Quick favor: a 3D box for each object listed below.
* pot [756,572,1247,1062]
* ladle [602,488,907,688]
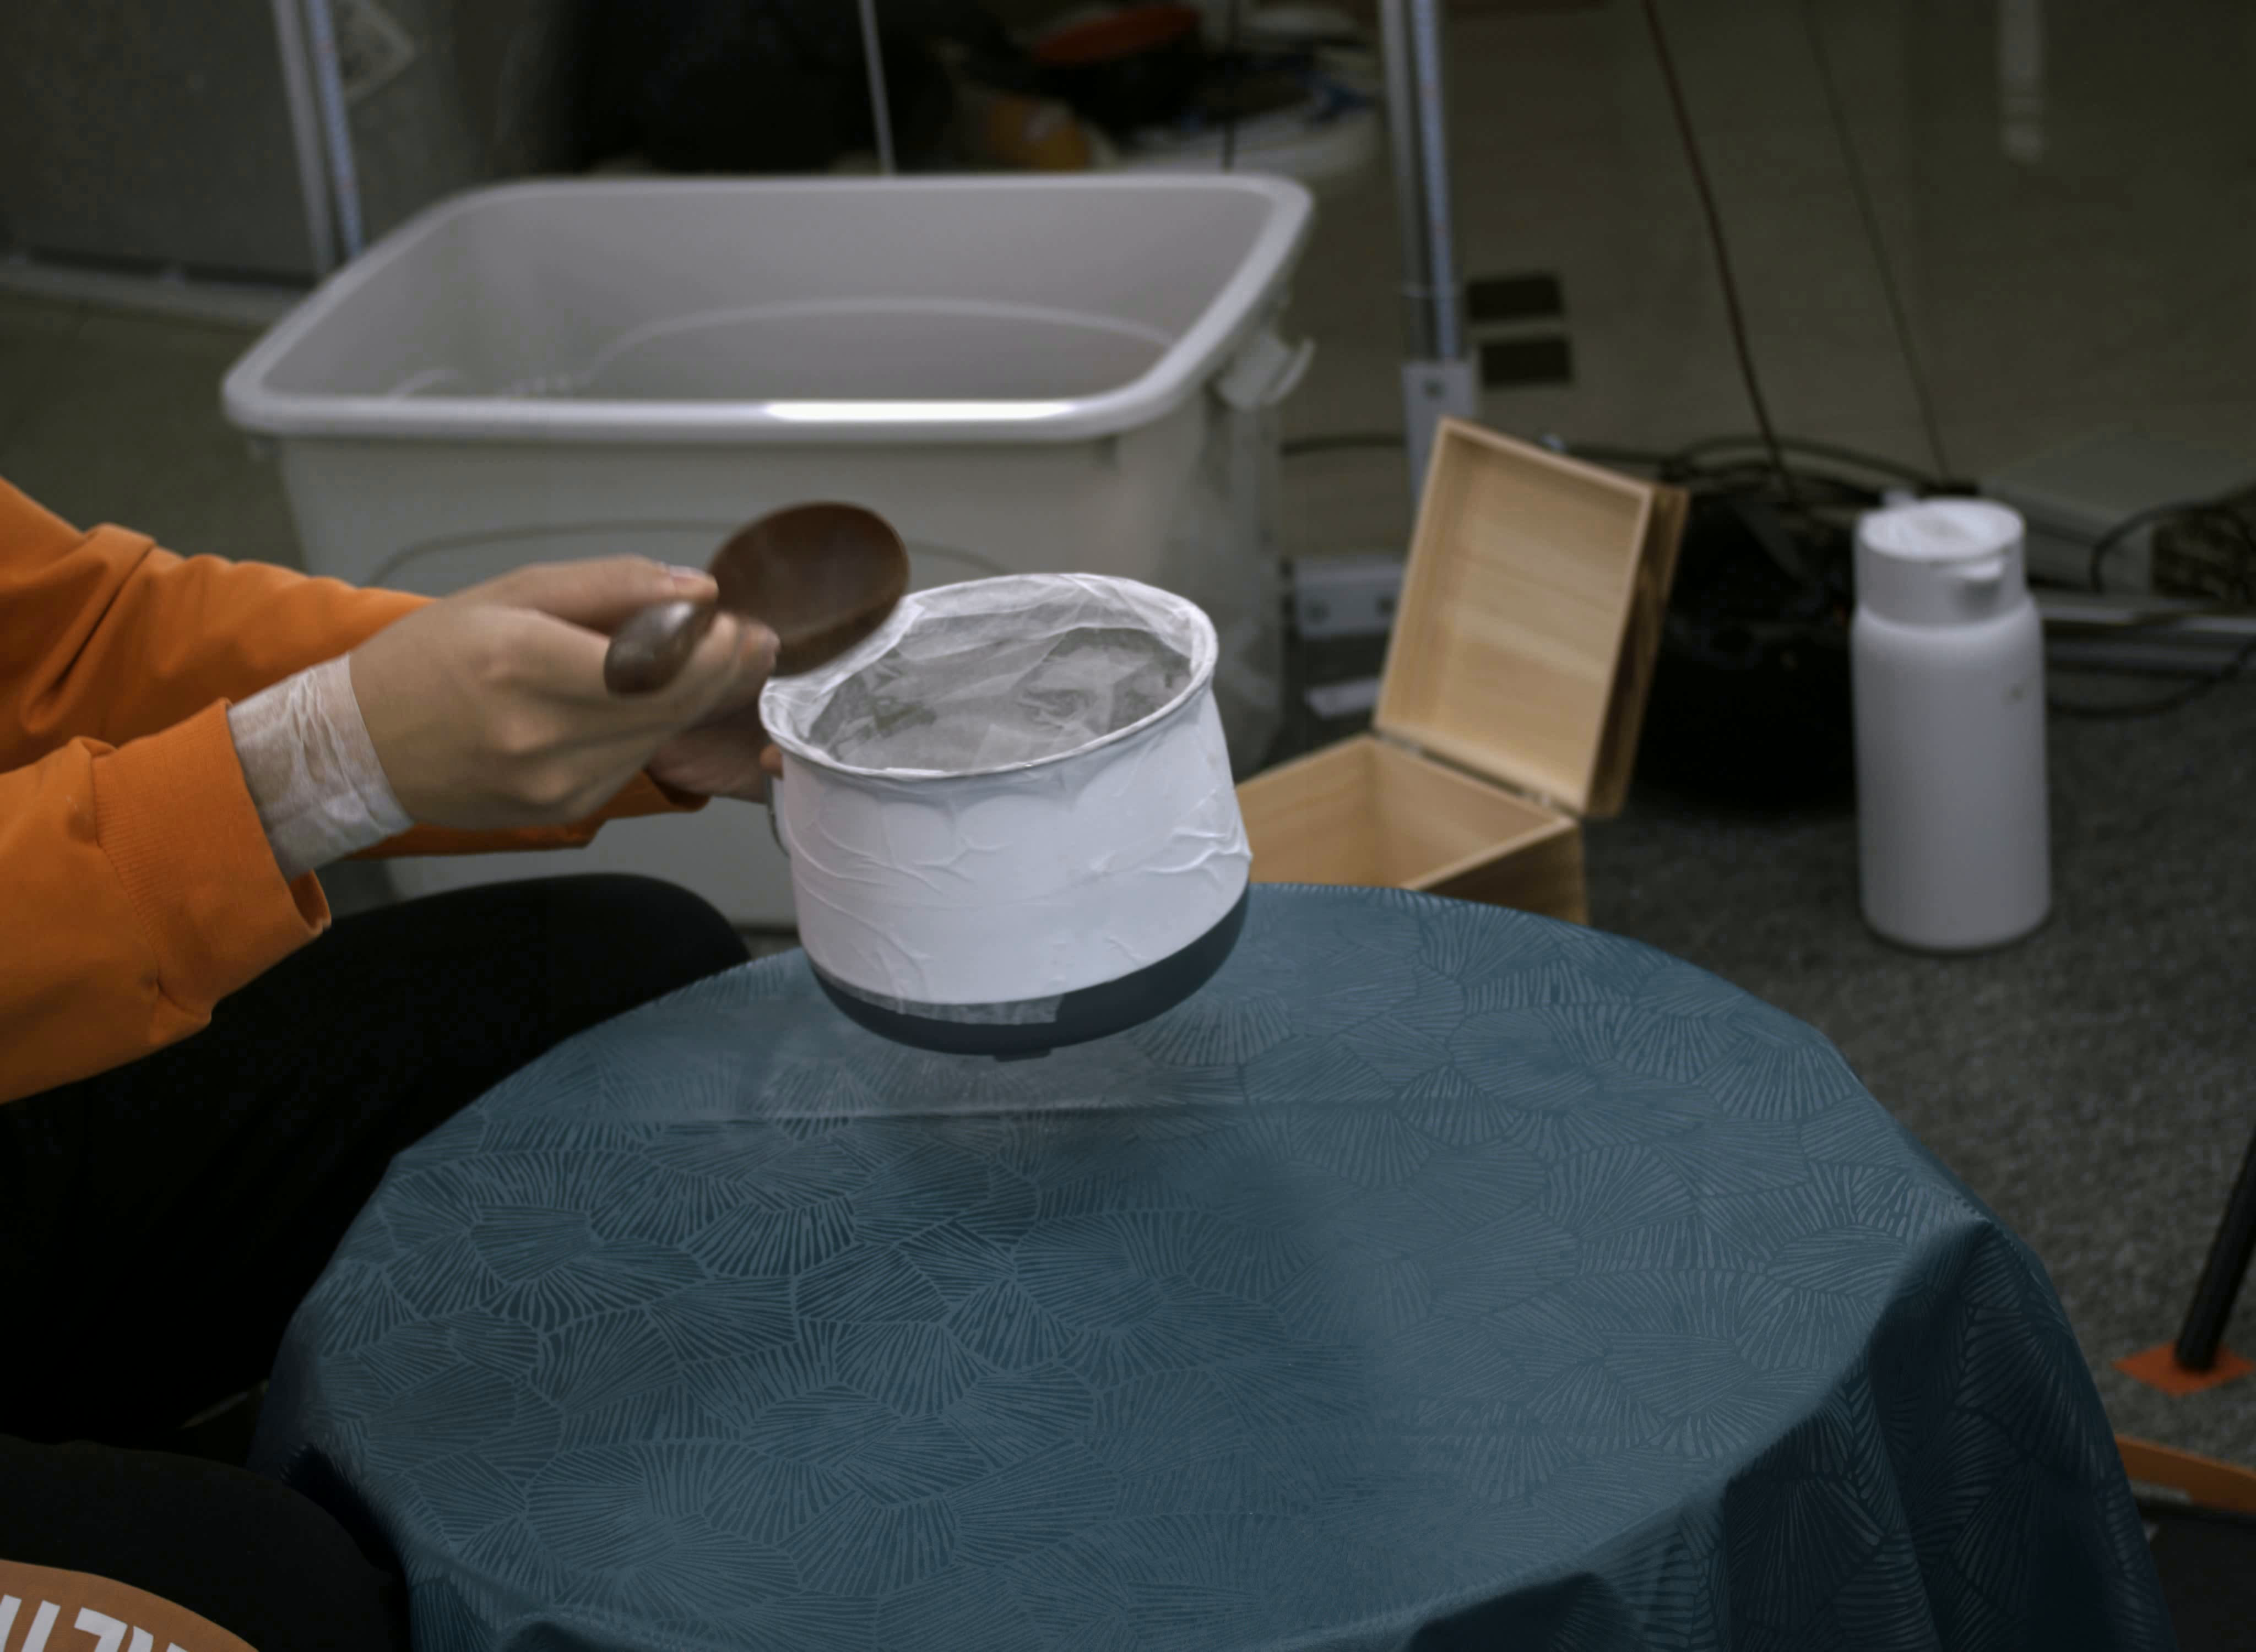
[{"bbox_3d":[-0.065,-0.010,2.195,0.177,0.139,0.232,-28,33,-35],"label":"pot"},{"bbox_3d":[-0.135,-0.082,1.909,0.076,0.065,0.259,-10,1,12],"label":"ladle"}]
